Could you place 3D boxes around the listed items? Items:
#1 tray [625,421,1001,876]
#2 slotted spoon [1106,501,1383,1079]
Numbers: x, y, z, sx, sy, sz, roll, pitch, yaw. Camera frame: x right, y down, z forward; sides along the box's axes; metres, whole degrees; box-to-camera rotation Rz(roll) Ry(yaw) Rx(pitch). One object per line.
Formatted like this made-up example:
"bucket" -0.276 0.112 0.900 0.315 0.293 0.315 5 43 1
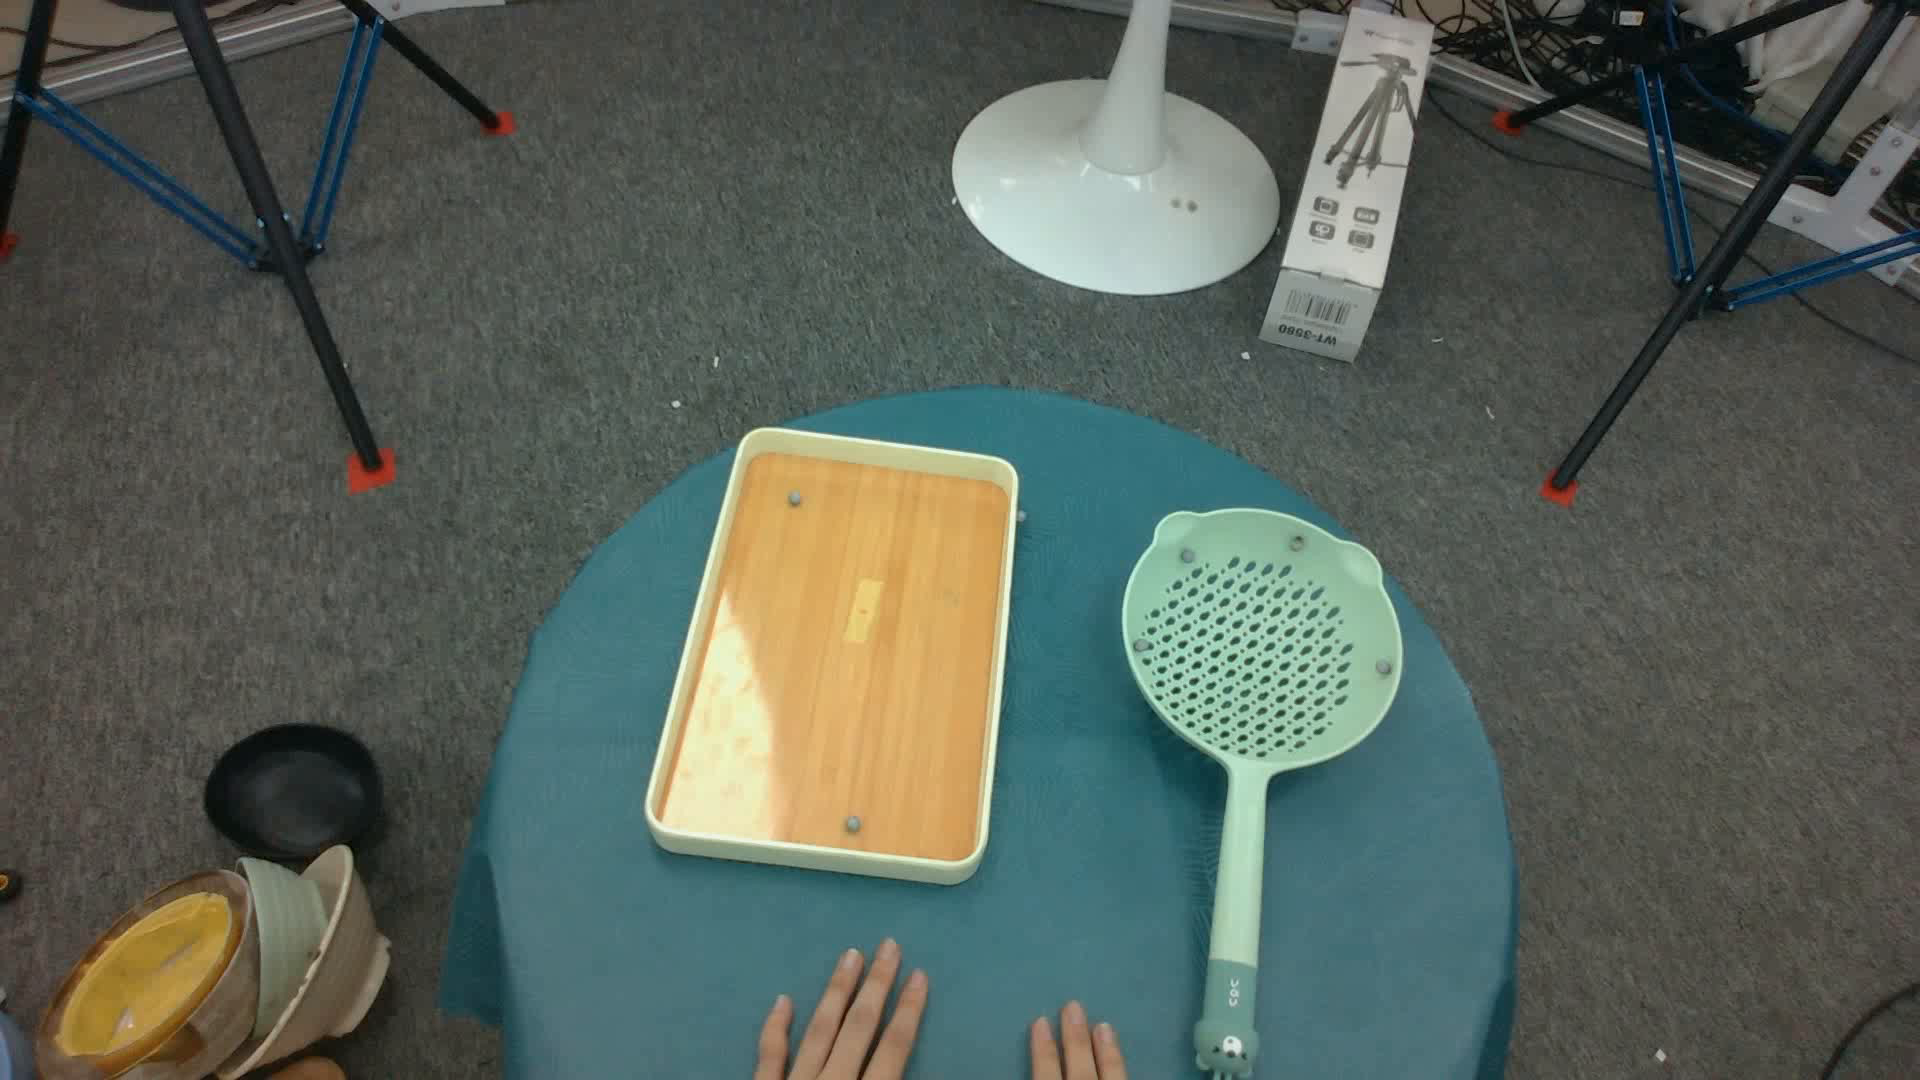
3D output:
"tray" -0.079 0.054 0.847 0.191 0.027 0.302 8 52 -1
"slotted spoon" 0.153 0.138 0.788 0.169 0.075 0.360 11 52 2
